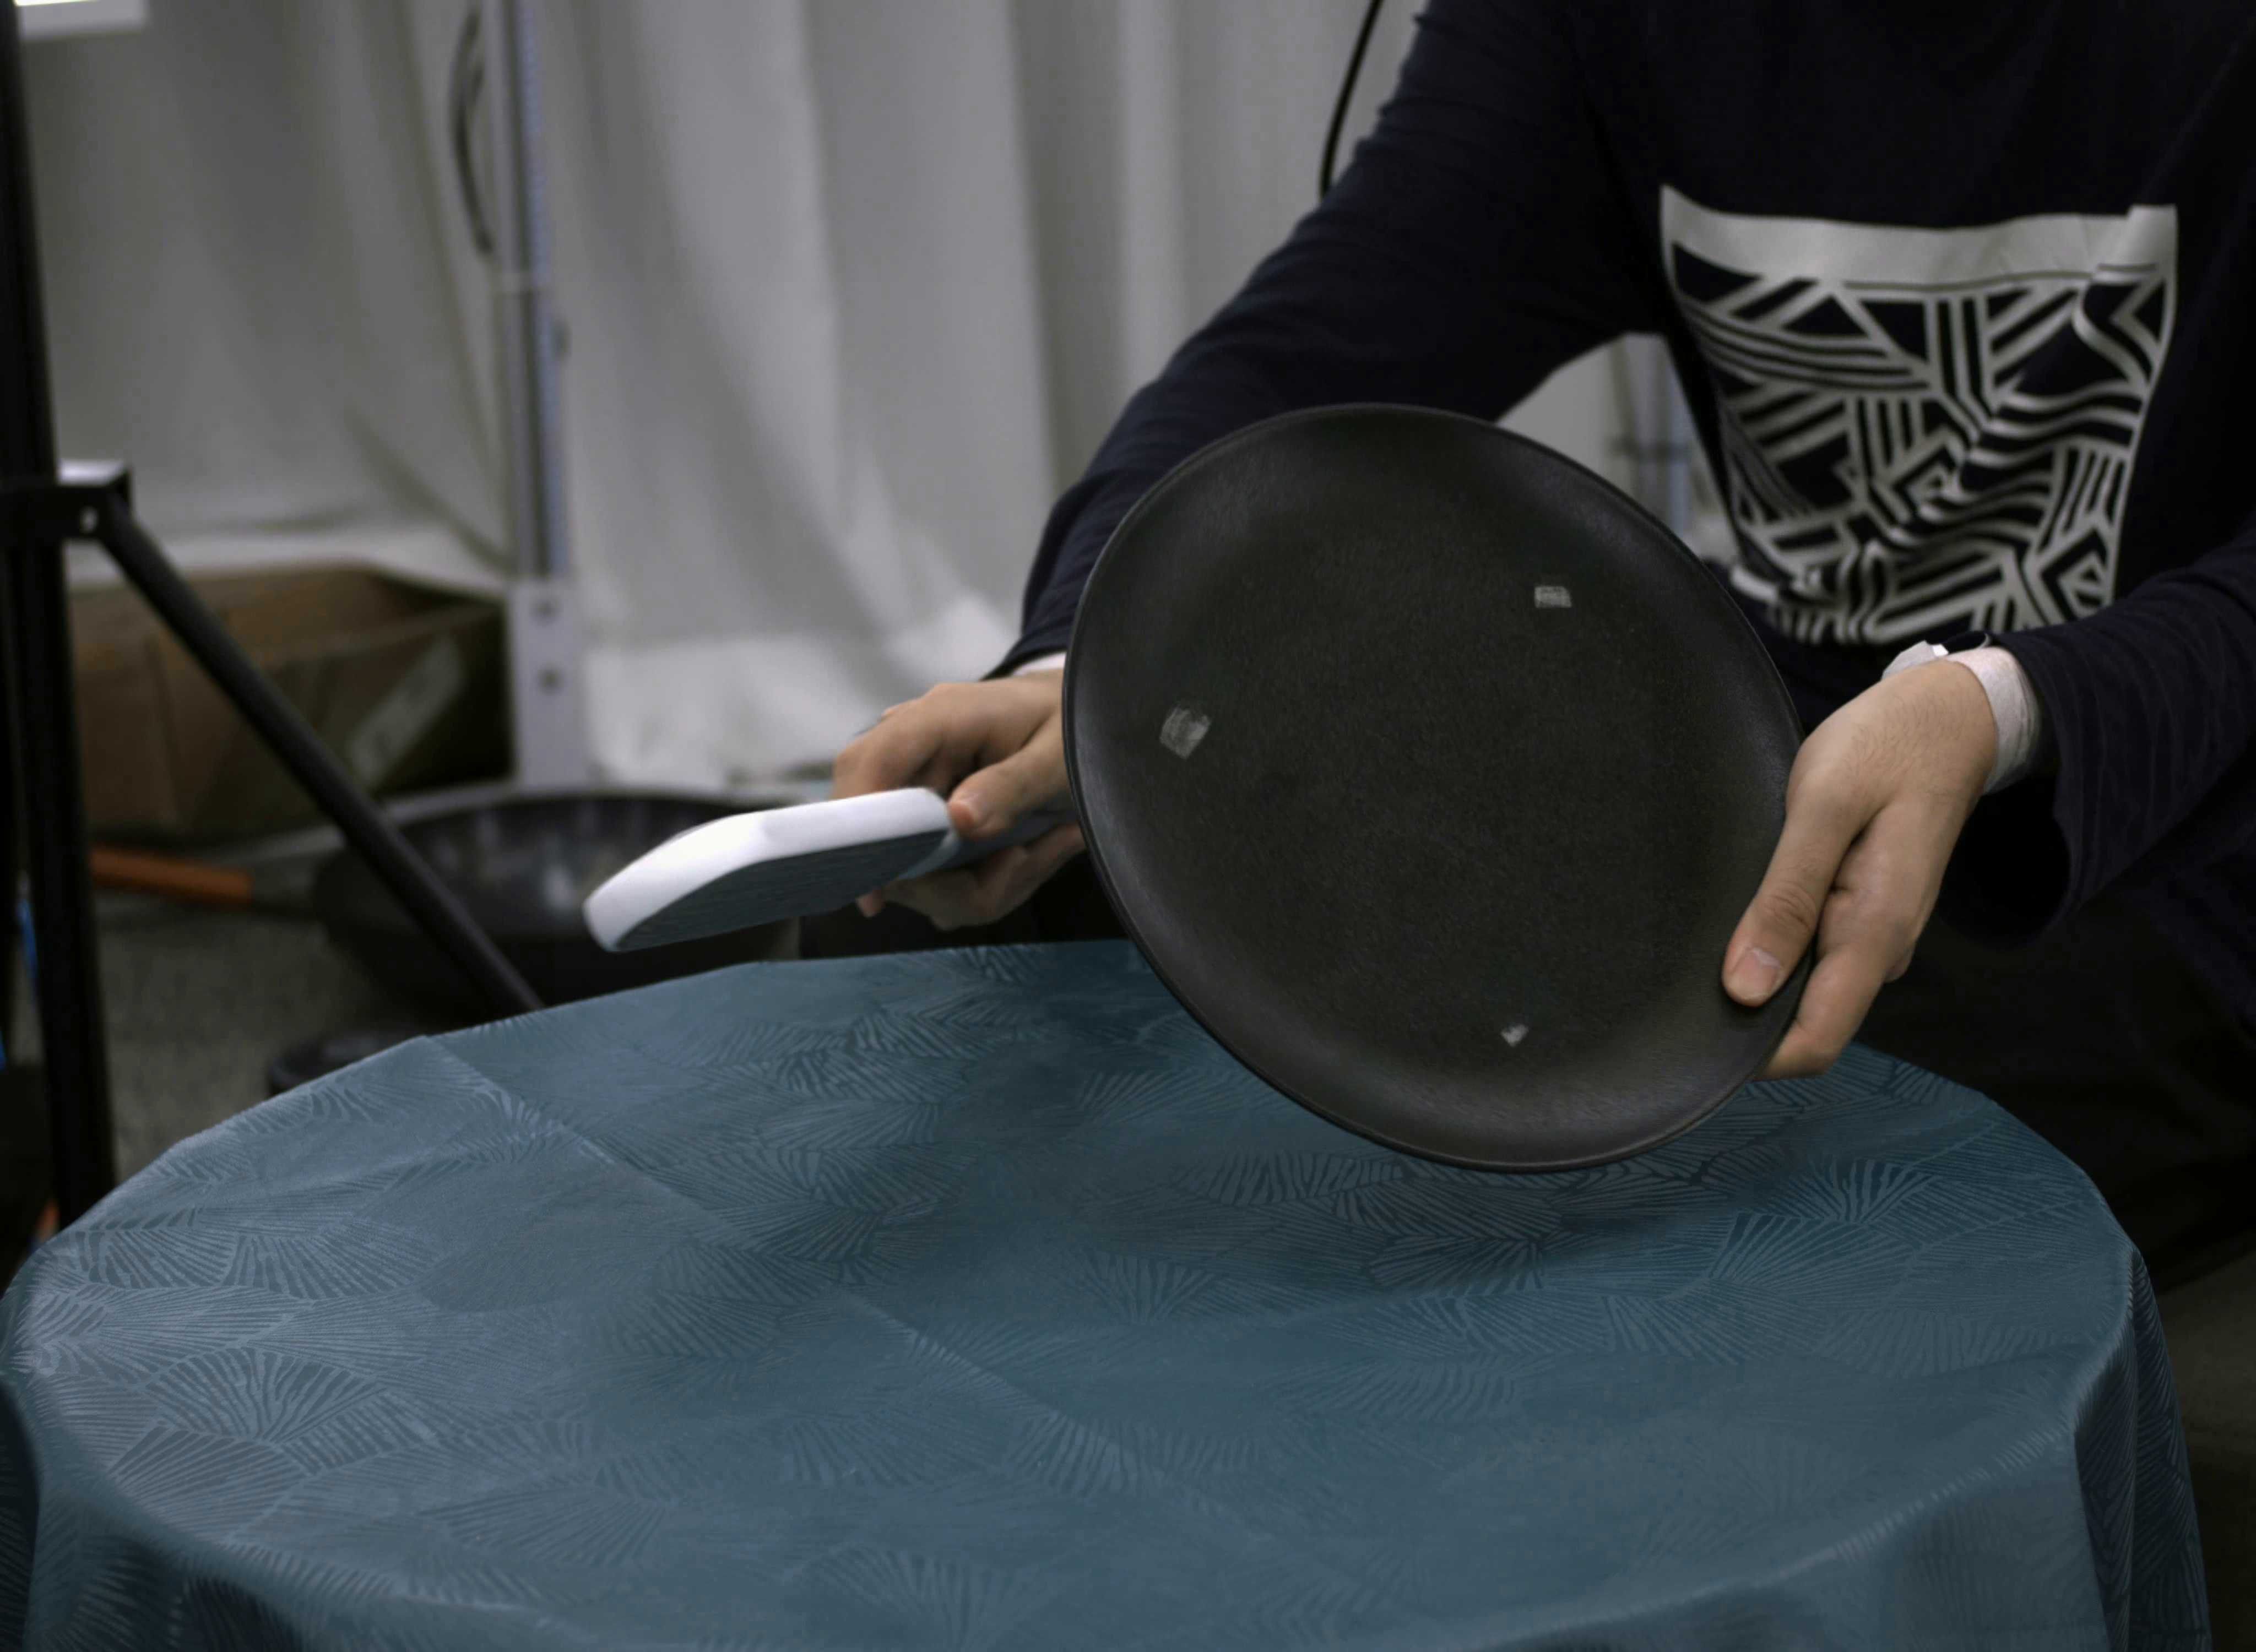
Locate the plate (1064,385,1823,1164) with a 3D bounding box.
[{"bbox_3d":[0.090,-0.014,1.537,0.239,0.247,0.023,-11,-19,-26],"label":"plate"}]

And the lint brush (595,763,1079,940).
[{"bbox_3d":[-0.078,0.002,1.616,0.060,0.021,0.304,-36,-9,20],"label":"lint brush"}]
